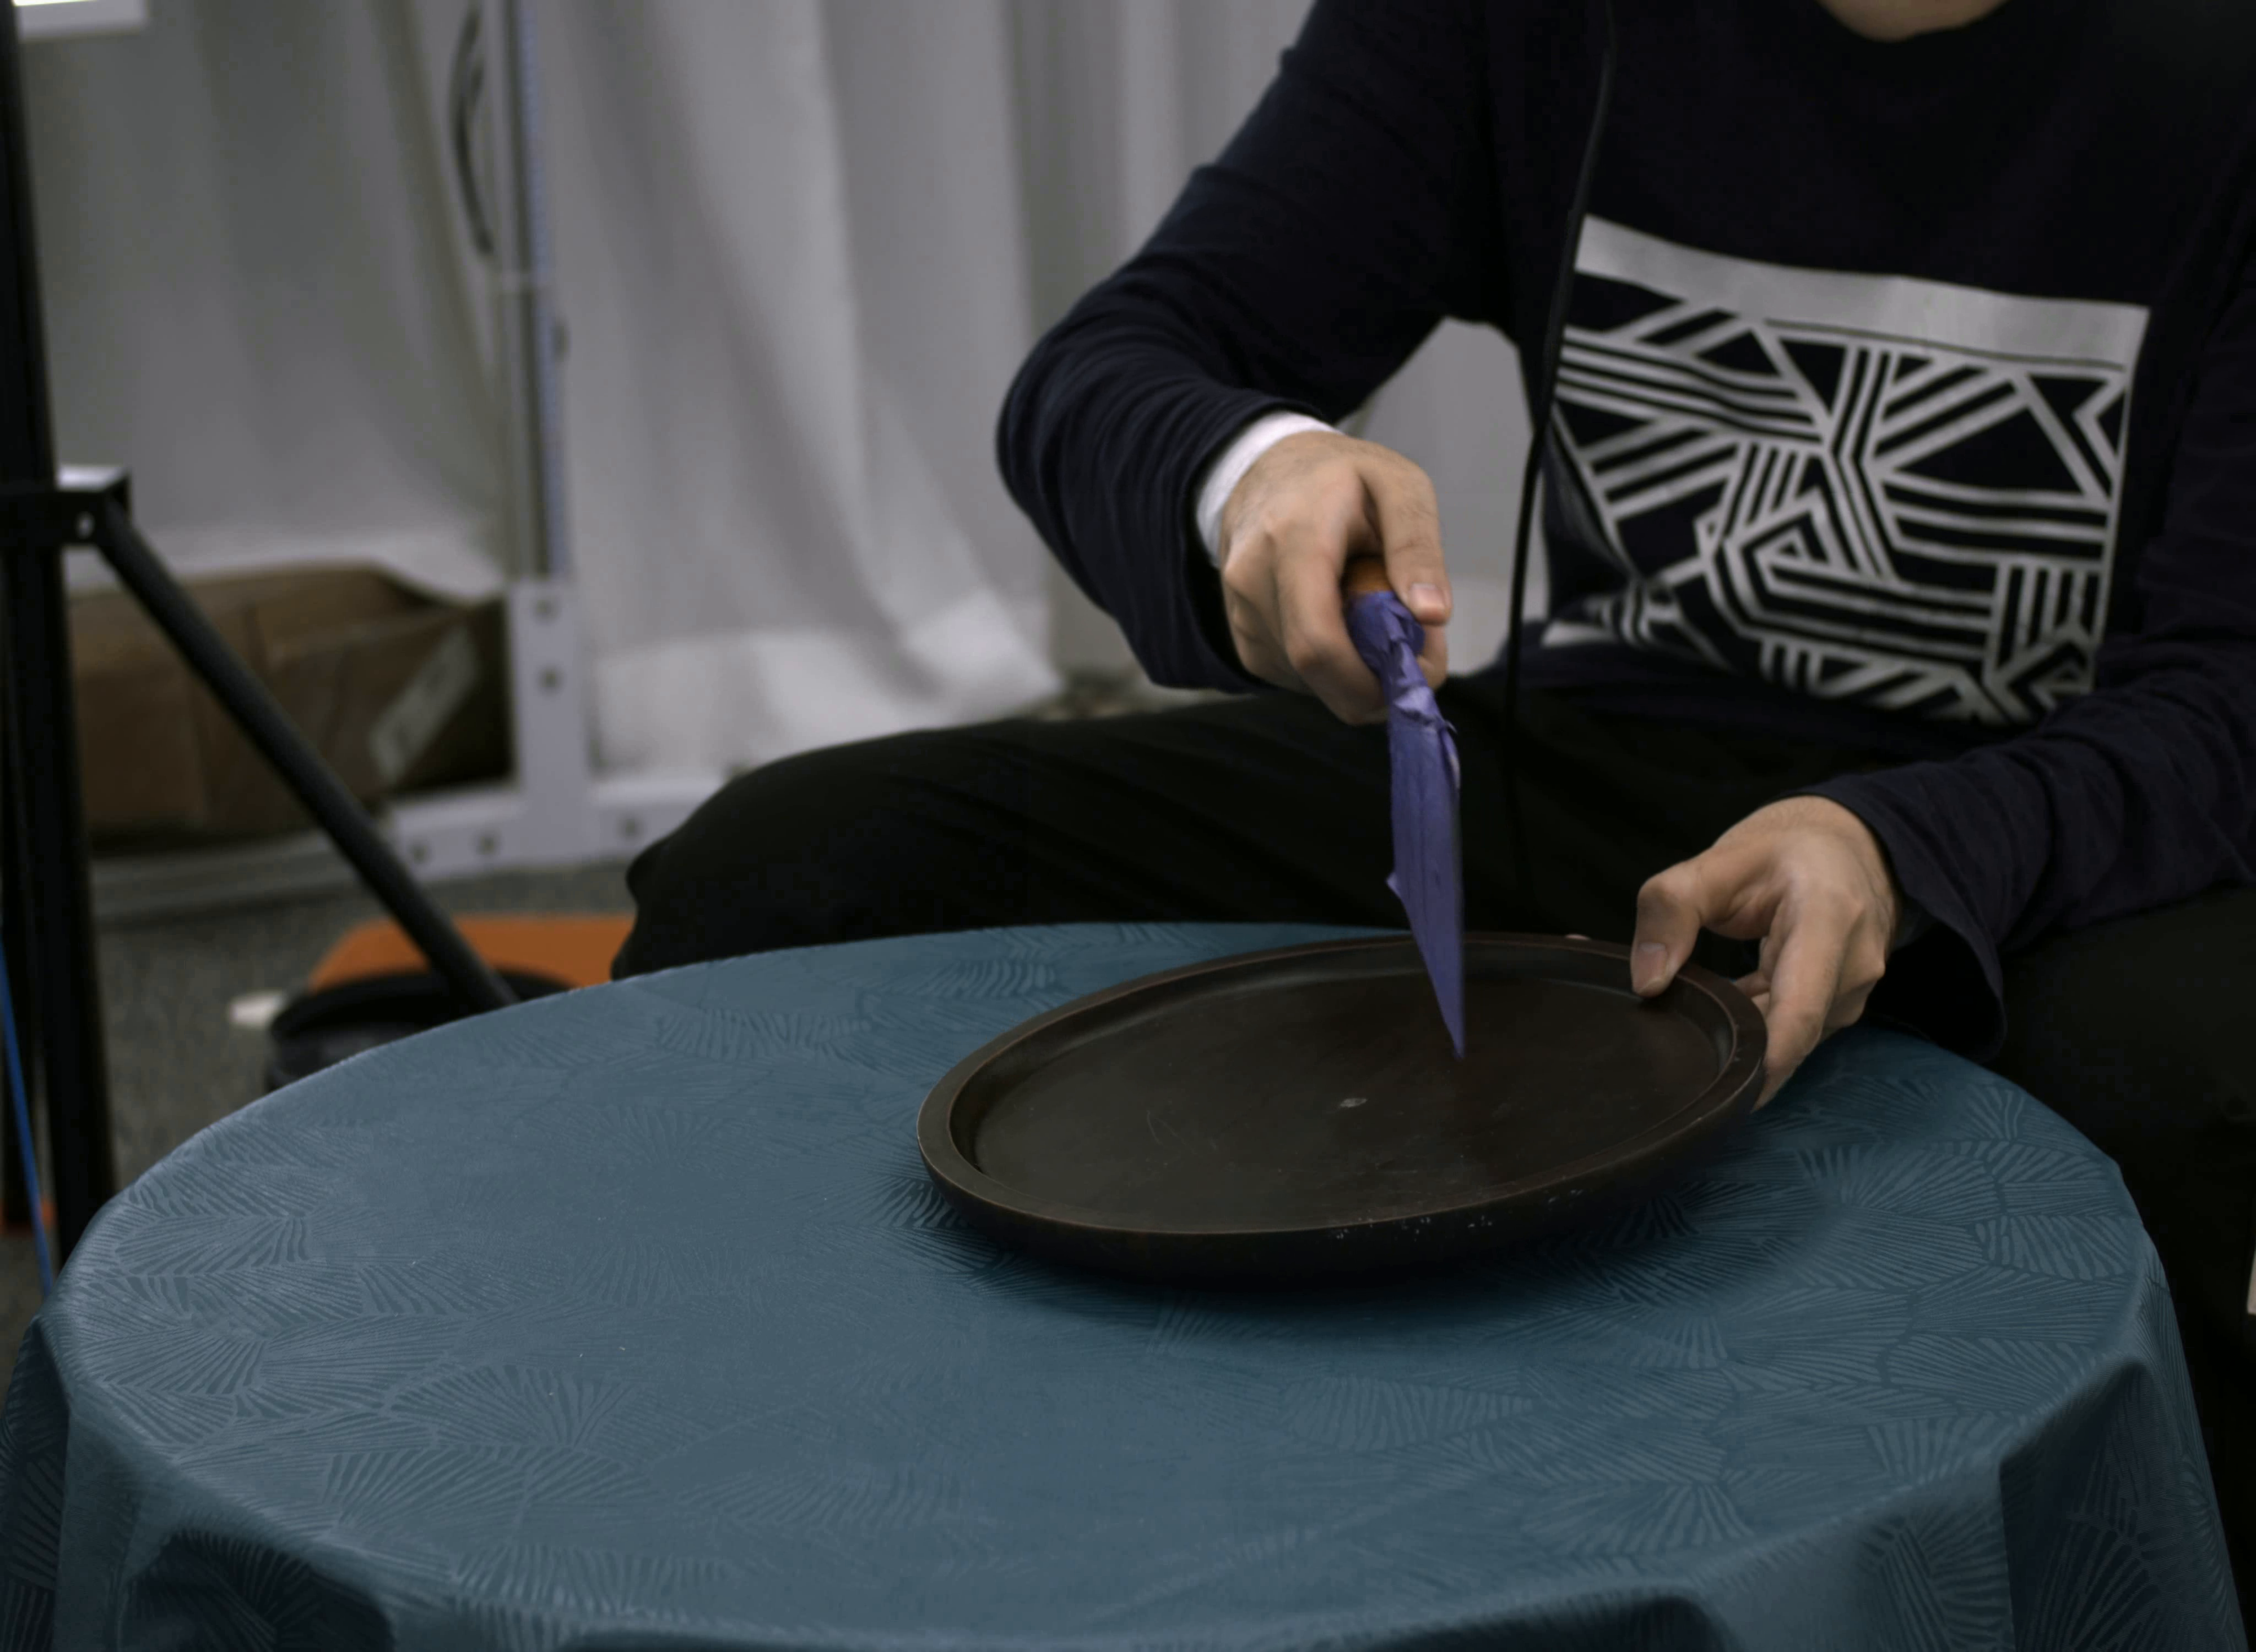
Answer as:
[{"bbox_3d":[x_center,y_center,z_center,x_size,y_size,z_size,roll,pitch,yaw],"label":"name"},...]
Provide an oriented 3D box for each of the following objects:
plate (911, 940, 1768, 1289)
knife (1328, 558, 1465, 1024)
[{"bbox_3d":[0.062,0.082,1.563,0.254,0.029,0.256,-8,18,1],"label":"plate"},{"bbox_3d":[0.082,-0.013,1.612,0.032,0.104,0.316,-2,12,1],"label":"knife"}]
